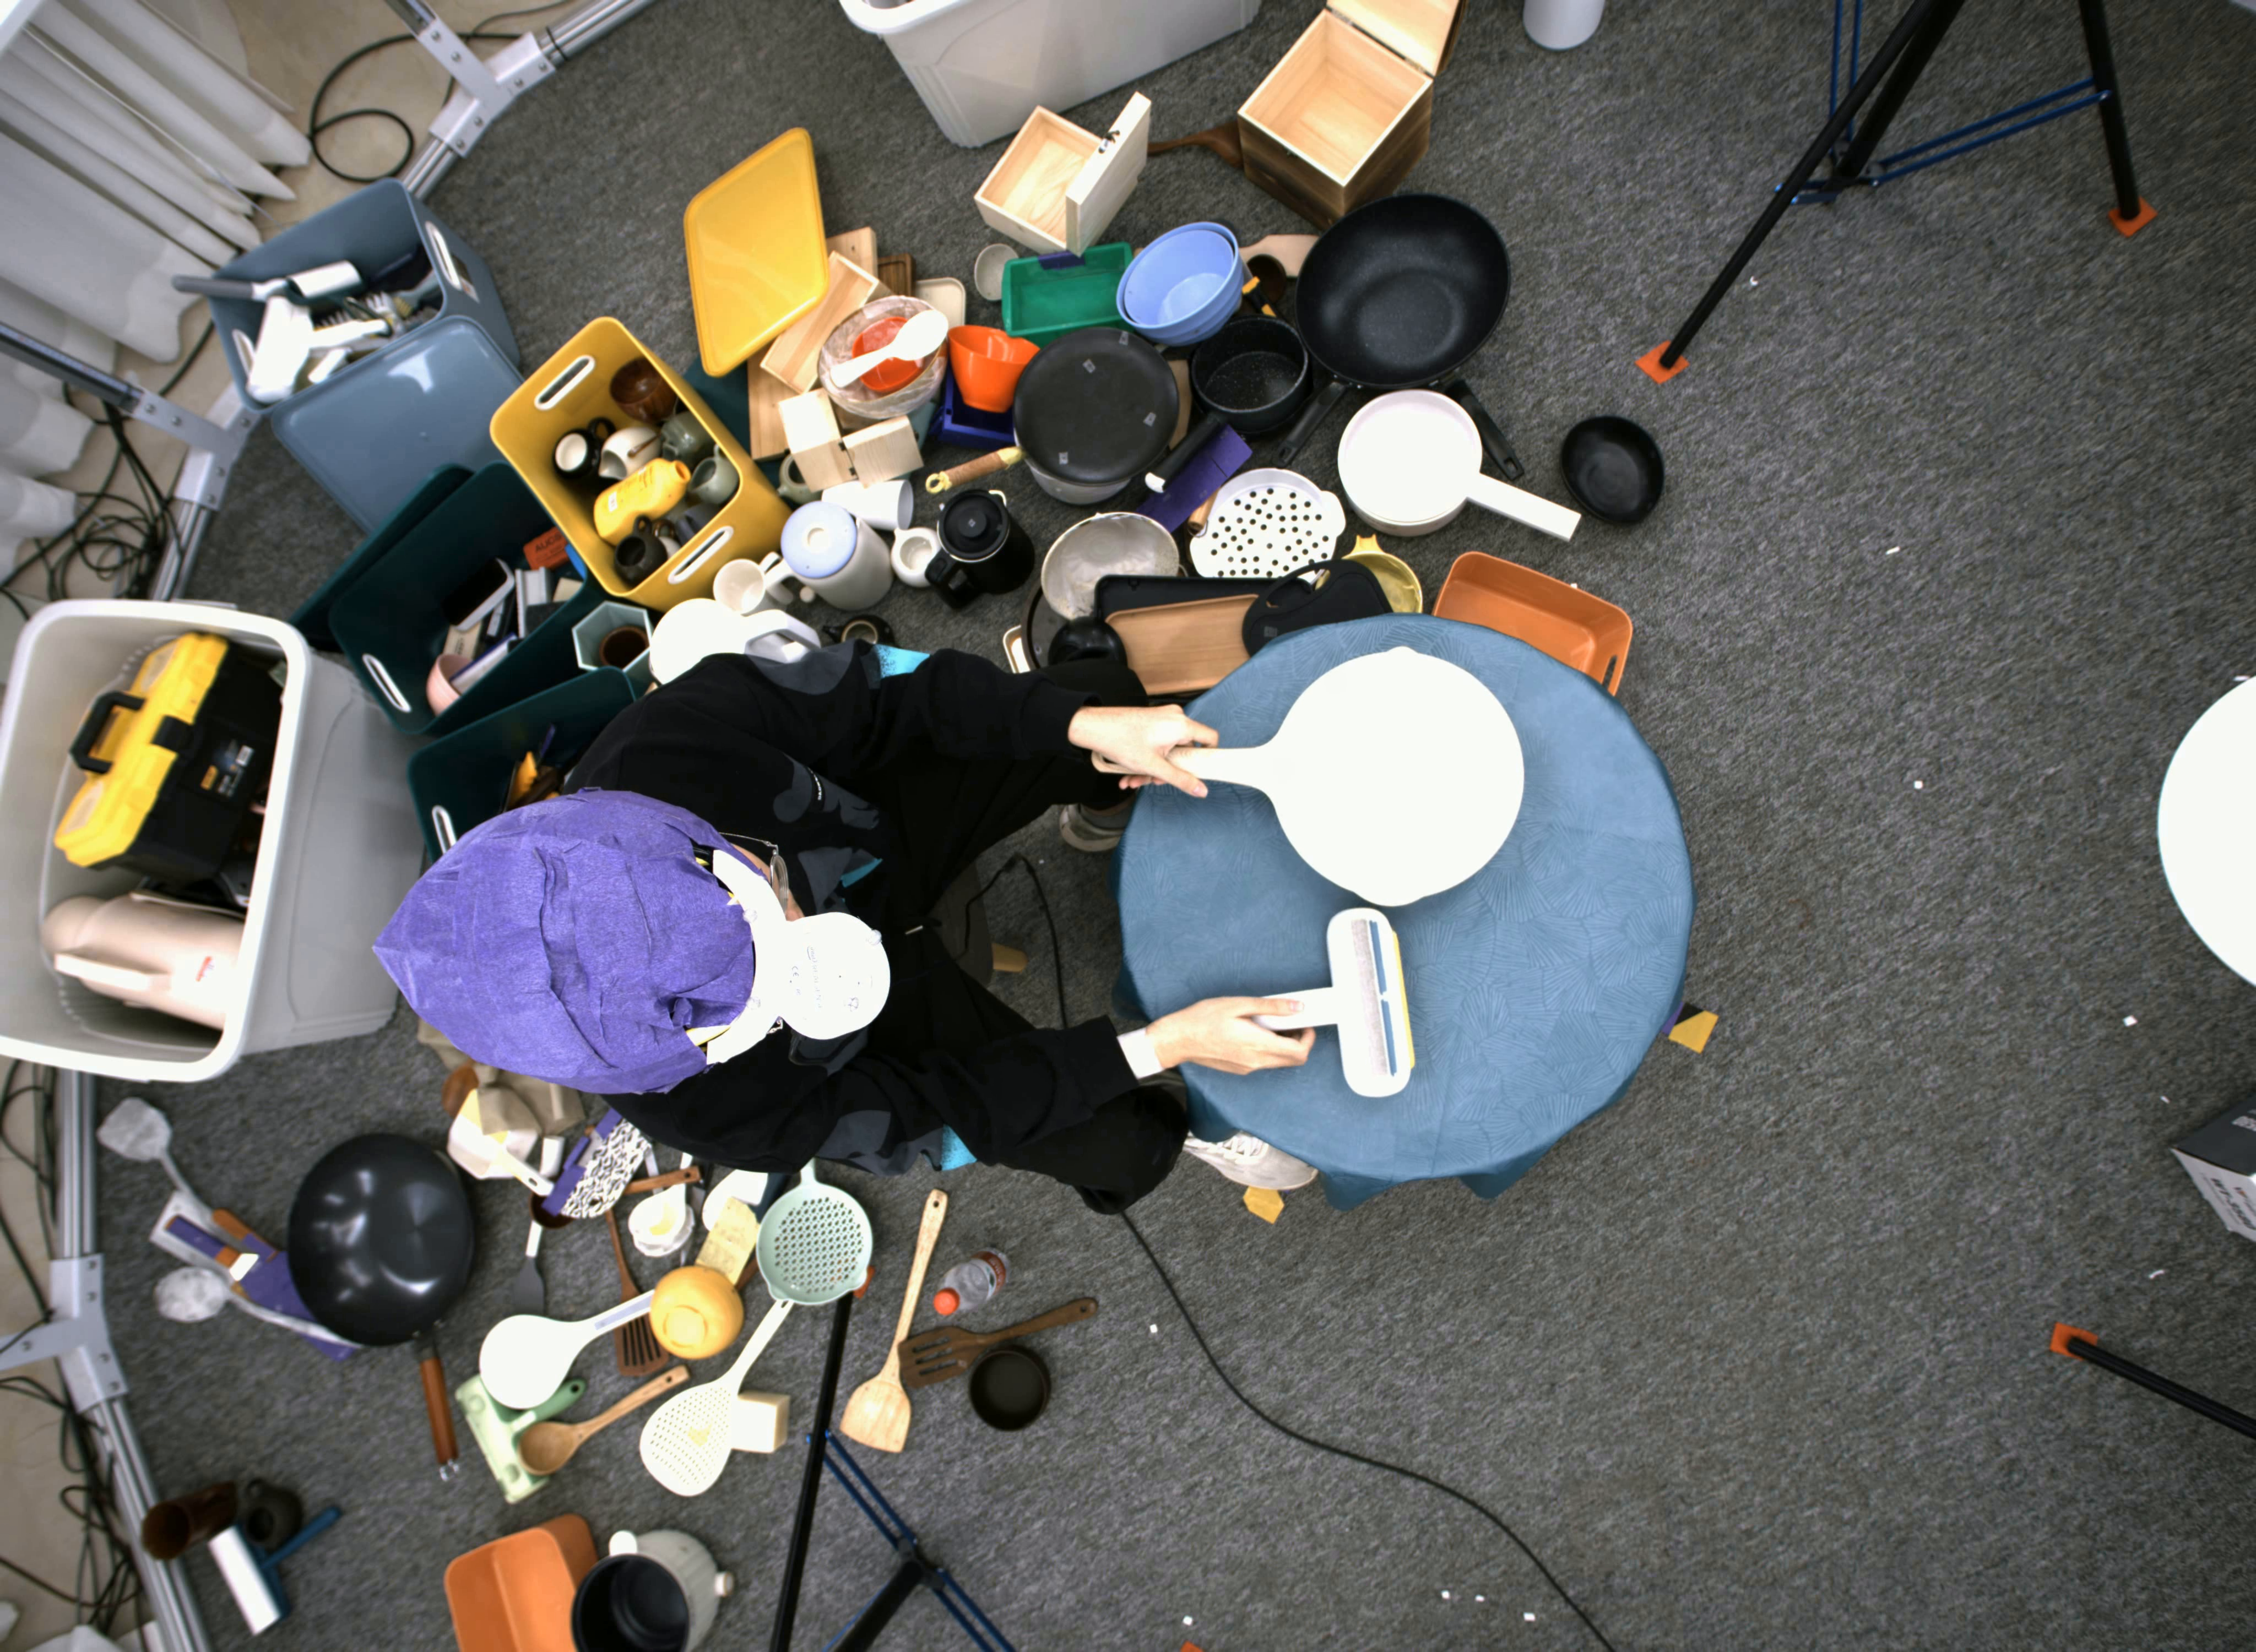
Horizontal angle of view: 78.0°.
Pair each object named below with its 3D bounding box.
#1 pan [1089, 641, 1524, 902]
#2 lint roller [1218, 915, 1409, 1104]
[{"bbox_3d":[0.183,-0.059,1.427,0.436,0.102,0.263,3,90,10],"label":"pan"},{"bbox_3d":[0.188,0.189,1.425,0.193,0.074,0.191,-3,81,6],"label":"lint roller"}]
